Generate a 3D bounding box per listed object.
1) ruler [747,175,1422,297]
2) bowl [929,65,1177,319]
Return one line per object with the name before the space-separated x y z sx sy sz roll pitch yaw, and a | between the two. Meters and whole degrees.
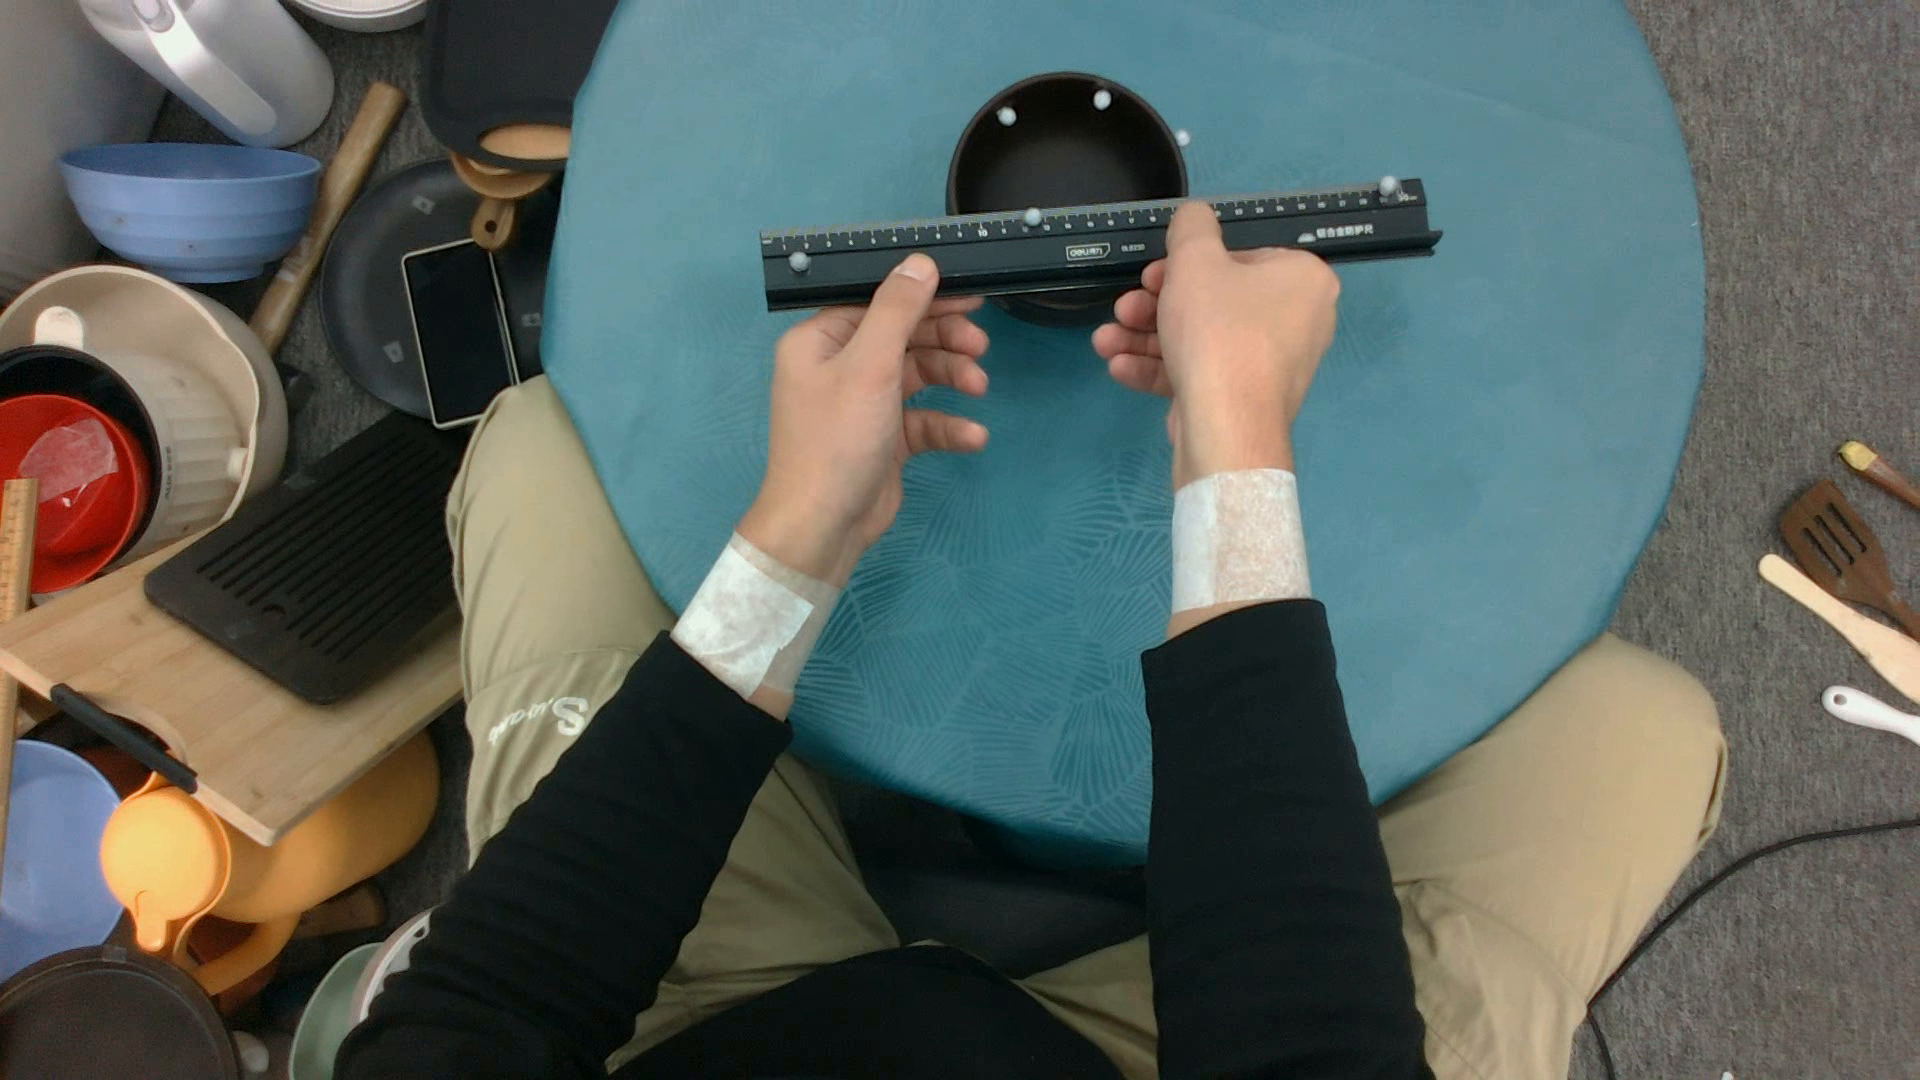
ruler | 0.061 -0.142 0.629 0.313 0.017 0.039 -6 82 -7
bowl | 0.043 -0.163 0.675 0.118 0.069 0.118 1 77 -3
